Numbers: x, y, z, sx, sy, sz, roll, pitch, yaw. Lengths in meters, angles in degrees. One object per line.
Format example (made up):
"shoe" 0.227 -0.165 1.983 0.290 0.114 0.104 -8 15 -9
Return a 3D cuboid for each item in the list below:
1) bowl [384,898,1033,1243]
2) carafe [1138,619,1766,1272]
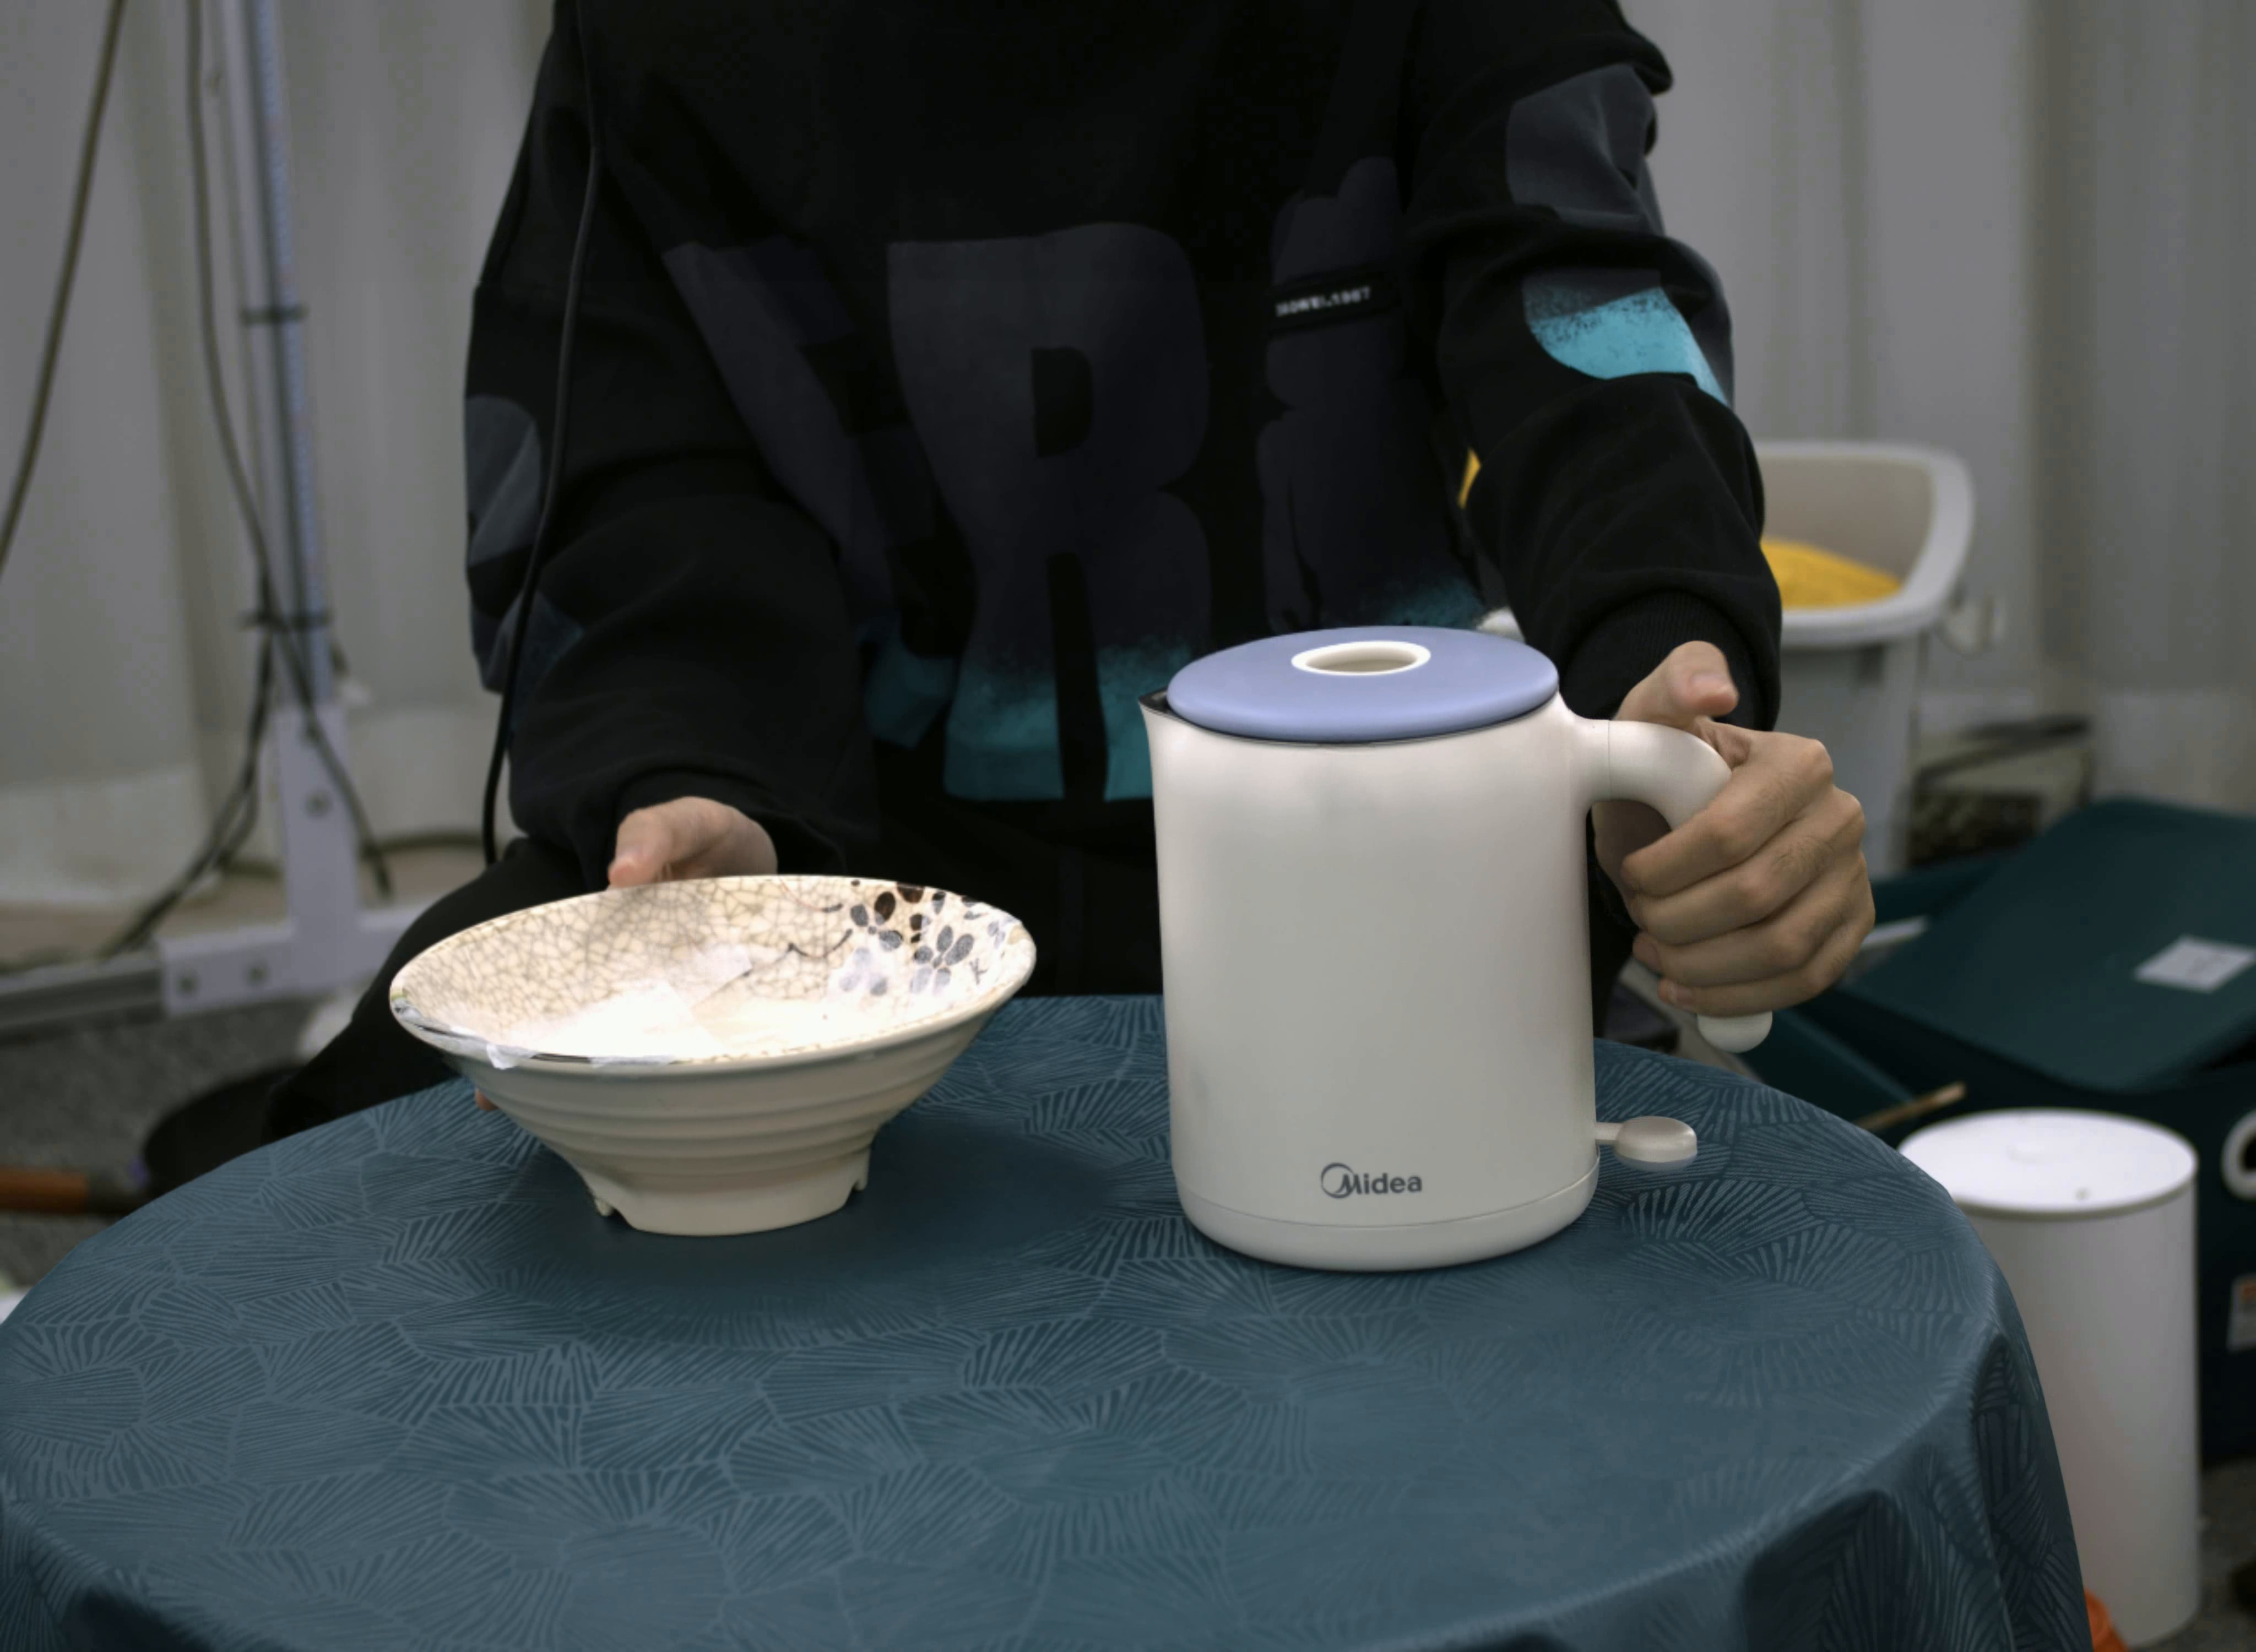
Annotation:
"bowl" -0.130 0.082 1.722 0.203 0.078 0.205 -2 12 0
"carafe" 0.099 0.035 1.663 0.190 0.182 0.133 1 16 4
